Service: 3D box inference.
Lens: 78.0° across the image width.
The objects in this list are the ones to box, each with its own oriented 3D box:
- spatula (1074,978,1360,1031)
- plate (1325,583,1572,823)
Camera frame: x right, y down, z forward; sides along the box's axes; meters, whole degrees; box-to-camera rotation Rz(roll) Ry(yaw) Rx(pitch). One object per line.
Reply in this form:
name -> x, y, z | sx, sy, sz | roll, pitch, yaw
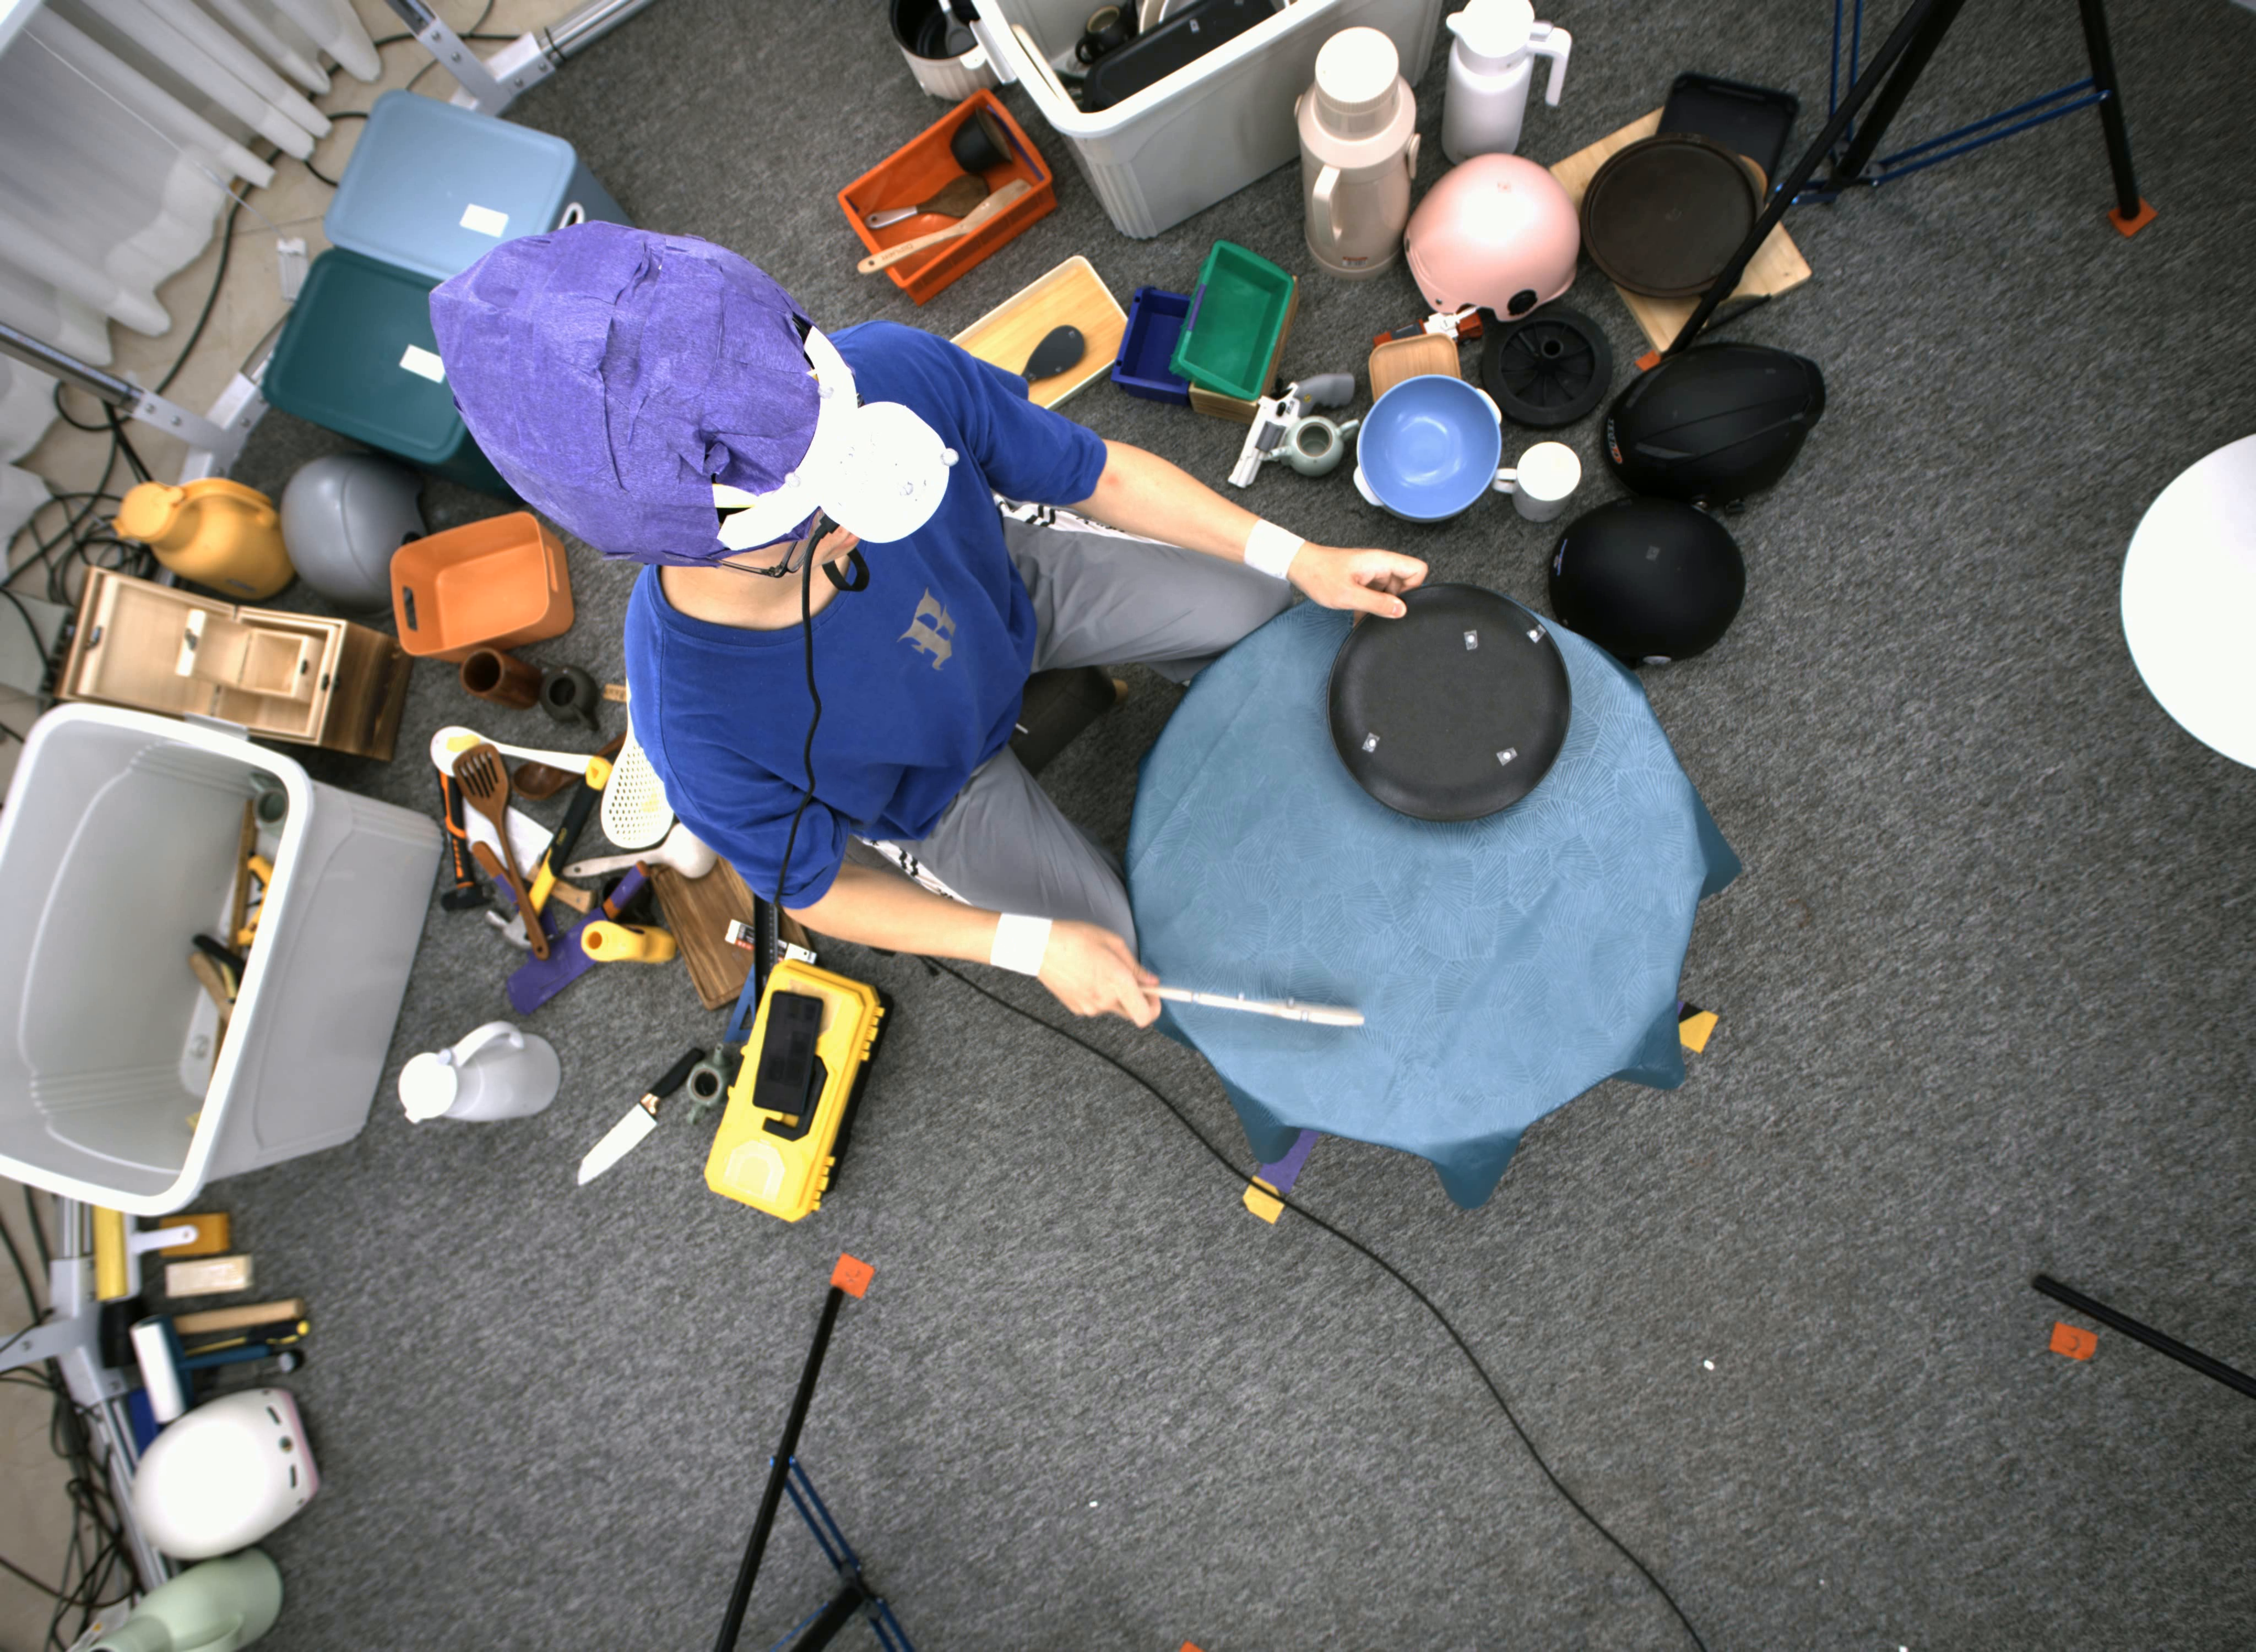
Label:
spatula -> 0.090, 0.182, 1.423 | 0.293, 0.072, 0.010 | 9, 90, 1
plate -> 0.323, -0.125, 1.387 | 0.245, 0.023, 0.247 | 5, 107, 15
